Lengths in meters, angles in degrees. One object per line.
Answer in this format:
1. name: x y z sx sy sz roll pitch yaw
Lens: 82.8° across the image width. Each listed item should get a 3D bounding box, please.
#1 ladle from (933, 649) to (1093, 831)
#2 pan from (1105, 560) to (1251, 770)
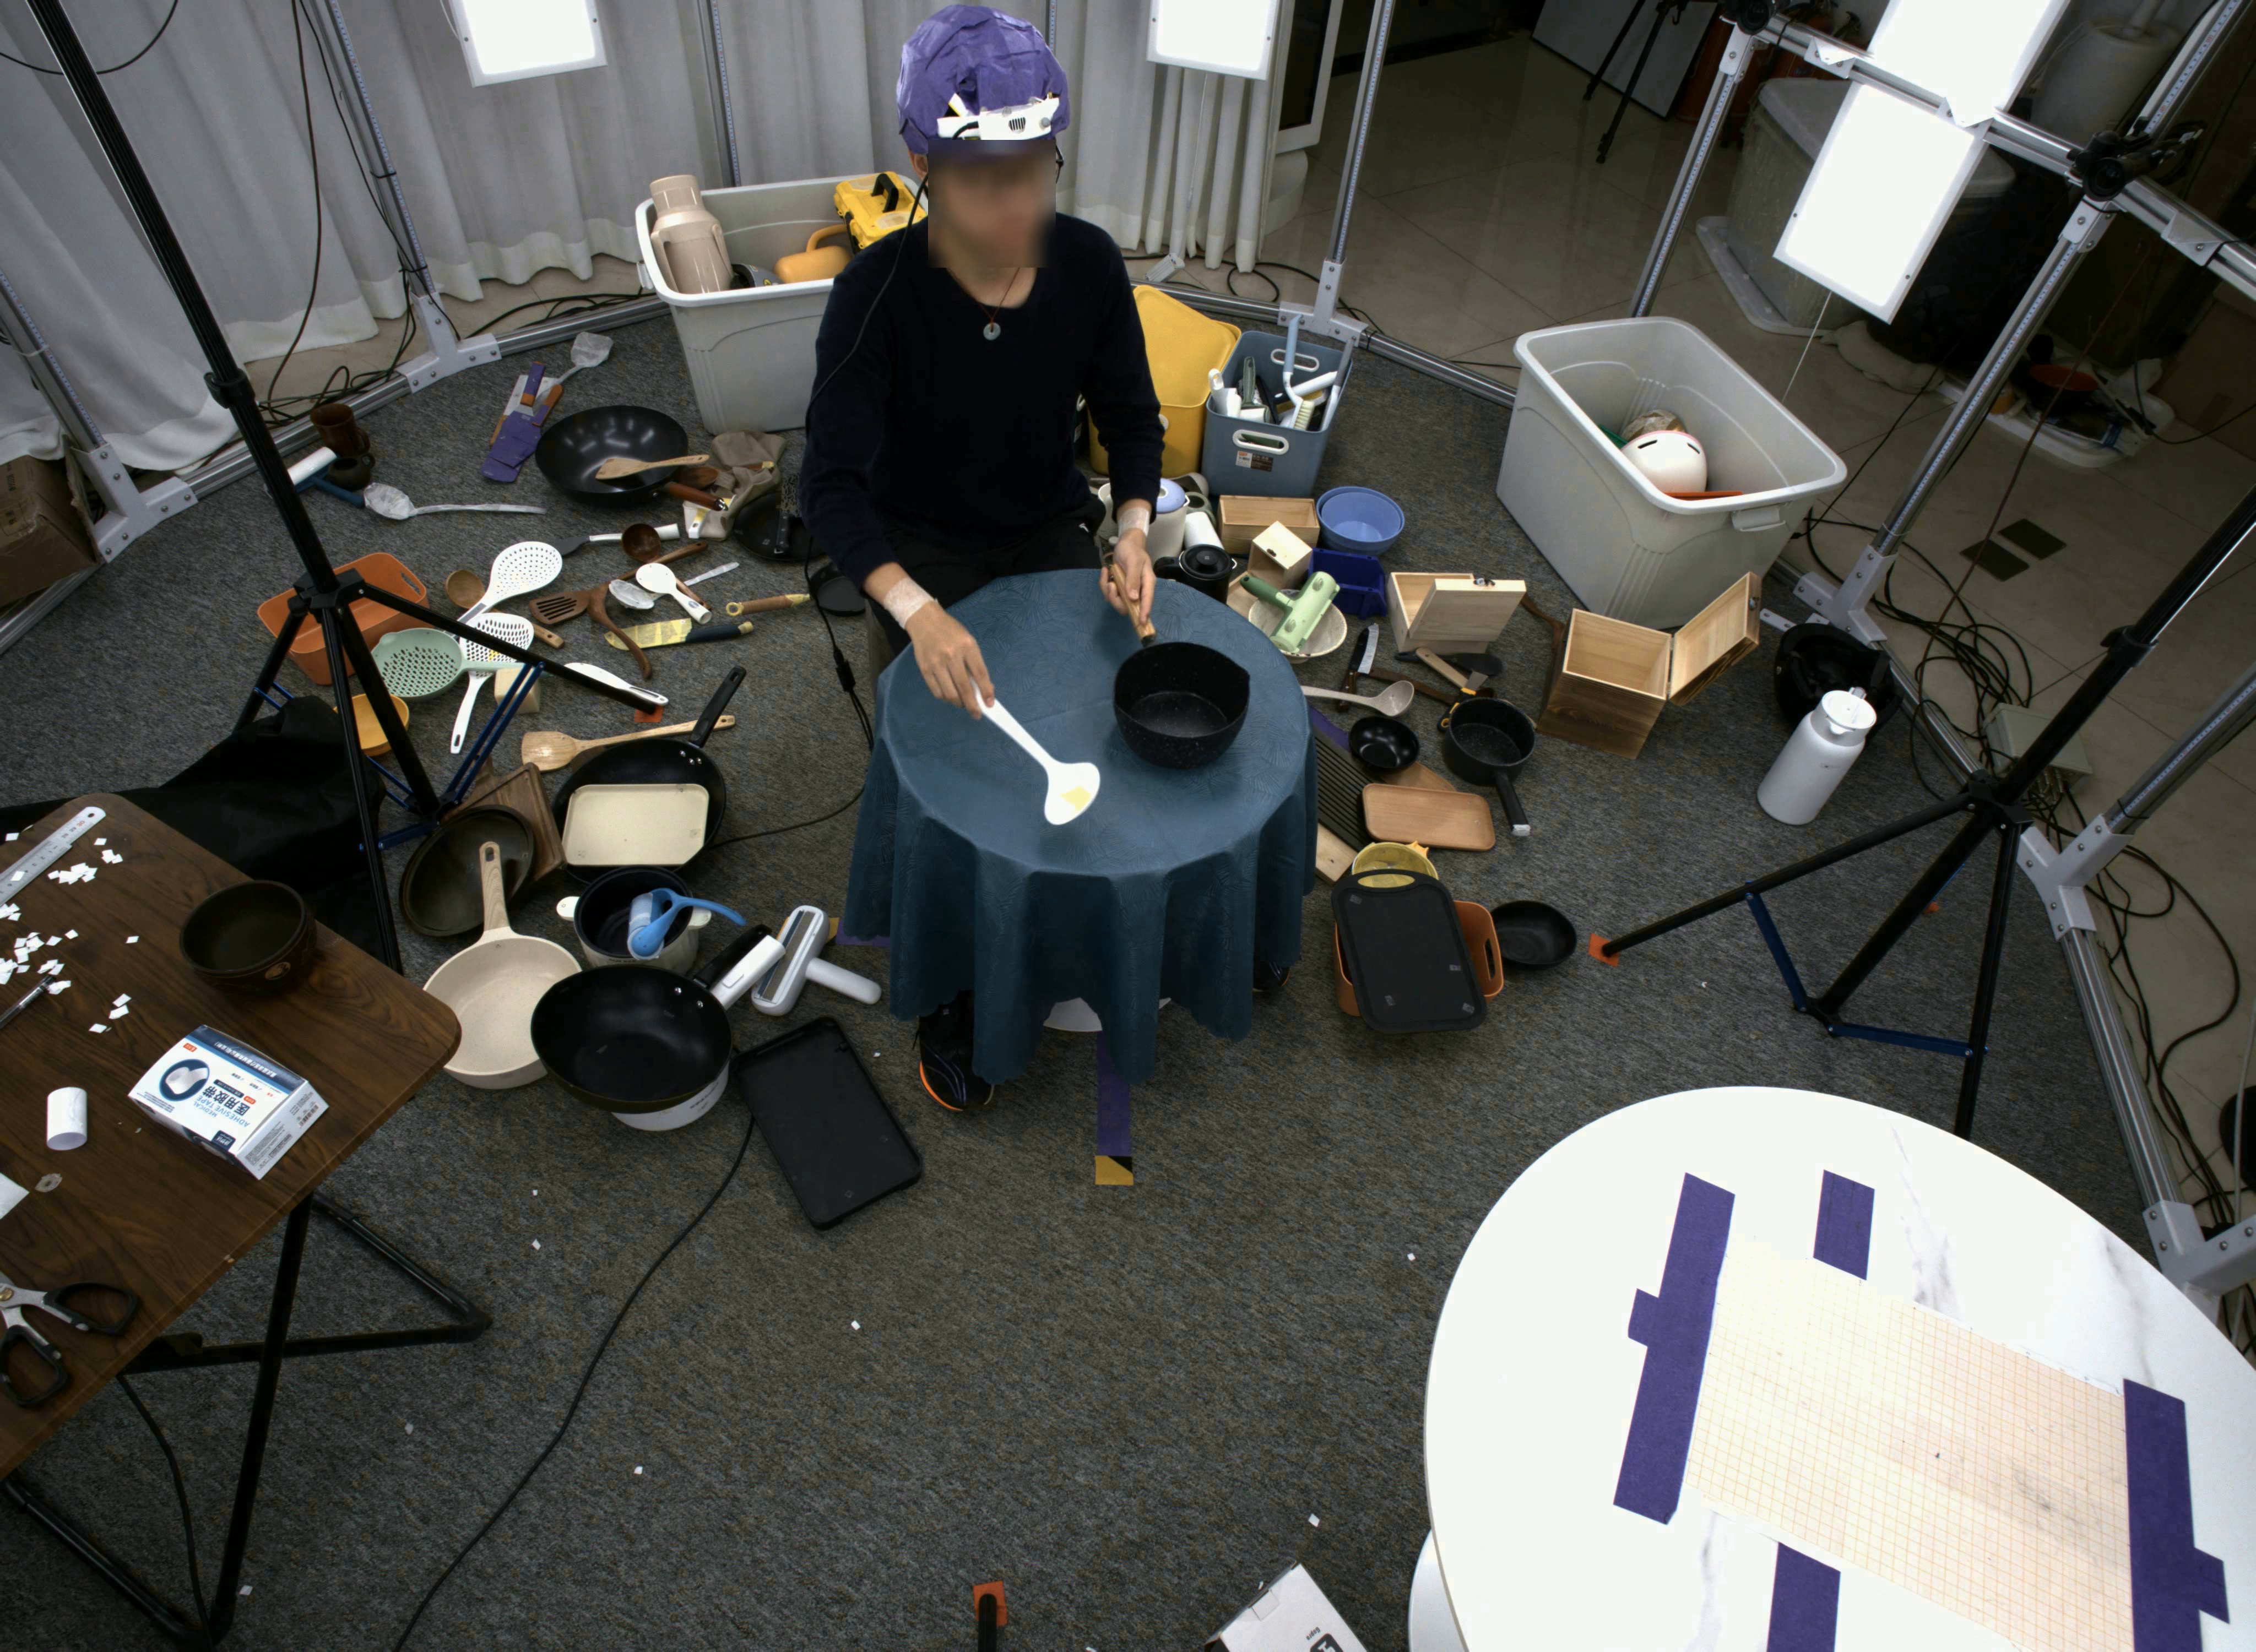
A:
1. ladle: -0.152 -0.117 1.633 0.296 0.089 0.070 46 18 13
2. pan: 0.040 -0.226 1.798 0.207 0.105 0.351 -15 53 -15
